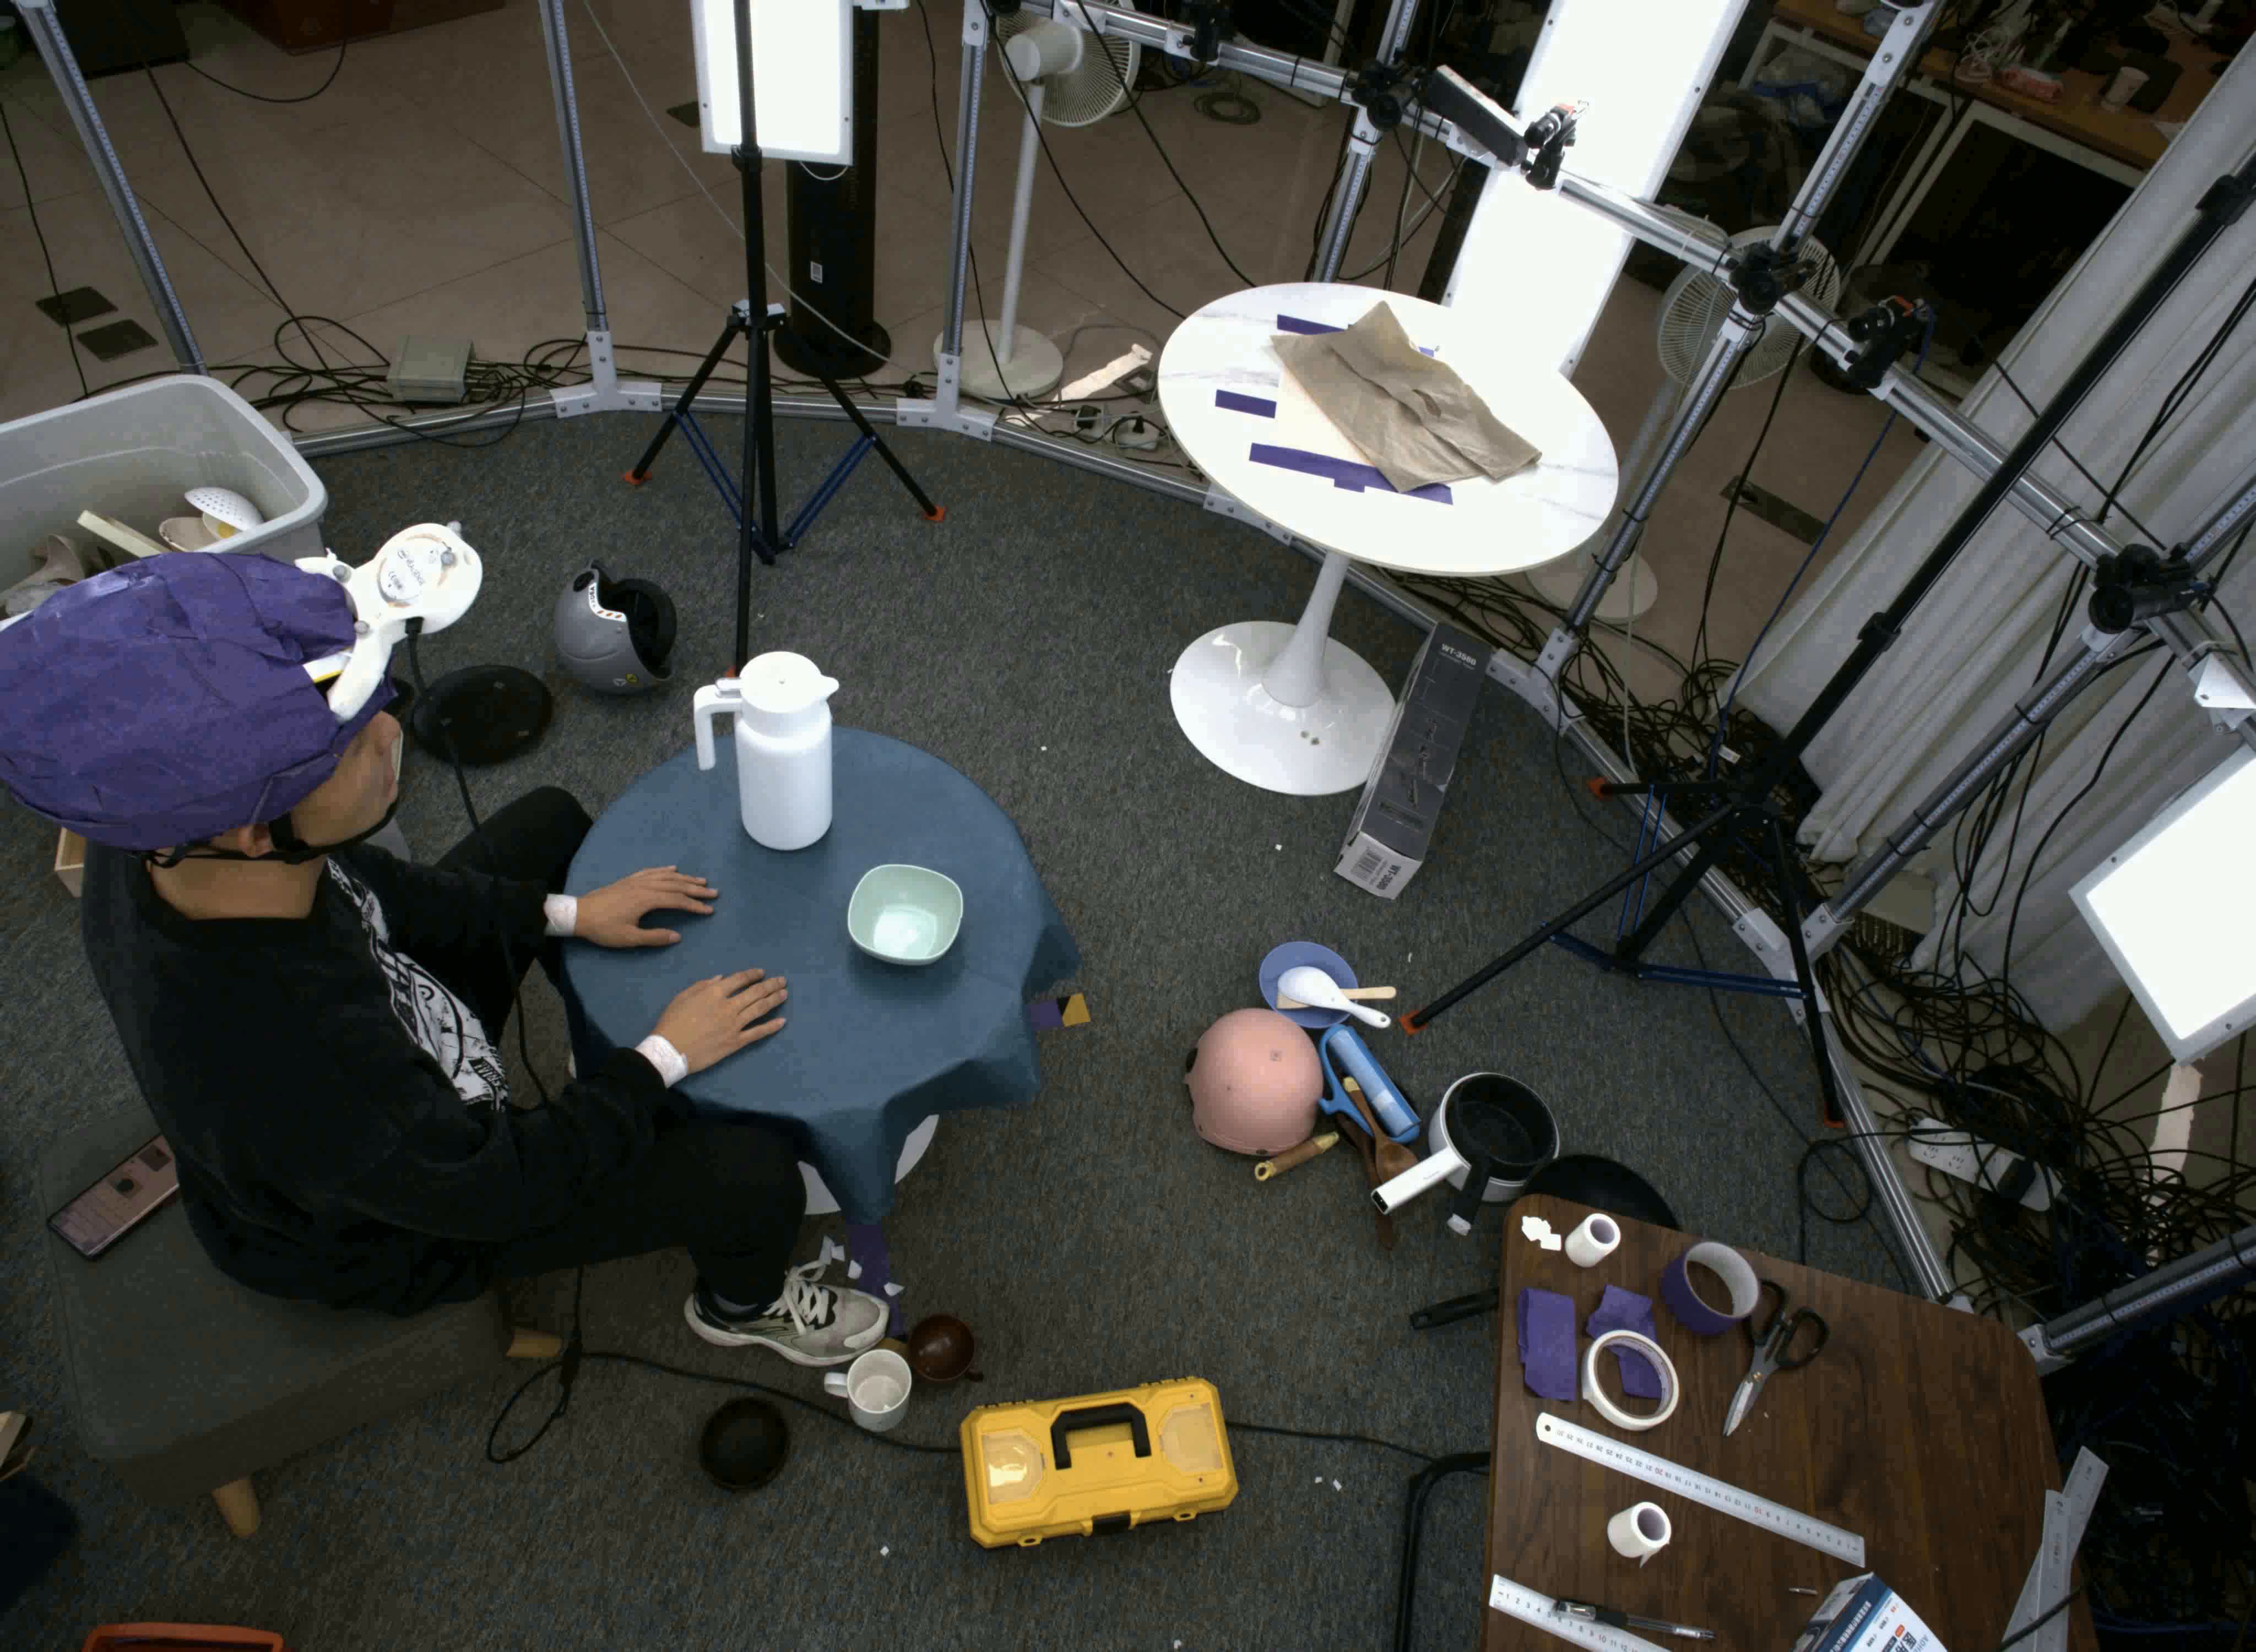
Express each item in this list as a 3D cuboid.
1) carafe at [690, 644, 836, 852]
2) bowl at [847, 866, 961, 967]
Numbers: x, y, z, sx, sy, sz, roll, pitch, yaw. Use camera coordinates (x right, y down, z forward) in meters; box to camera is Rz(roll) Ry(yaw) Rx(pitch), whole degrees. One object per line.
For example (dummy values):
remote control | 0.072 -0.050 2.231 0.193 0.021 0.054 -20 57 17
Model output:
carafe | -0.449 -0.092 1.611 0.173 0.274 0.121 -6 56 -17
bowl | -0.281 0.123 1.633 0.151 0.060 0.149 8 52 -8
